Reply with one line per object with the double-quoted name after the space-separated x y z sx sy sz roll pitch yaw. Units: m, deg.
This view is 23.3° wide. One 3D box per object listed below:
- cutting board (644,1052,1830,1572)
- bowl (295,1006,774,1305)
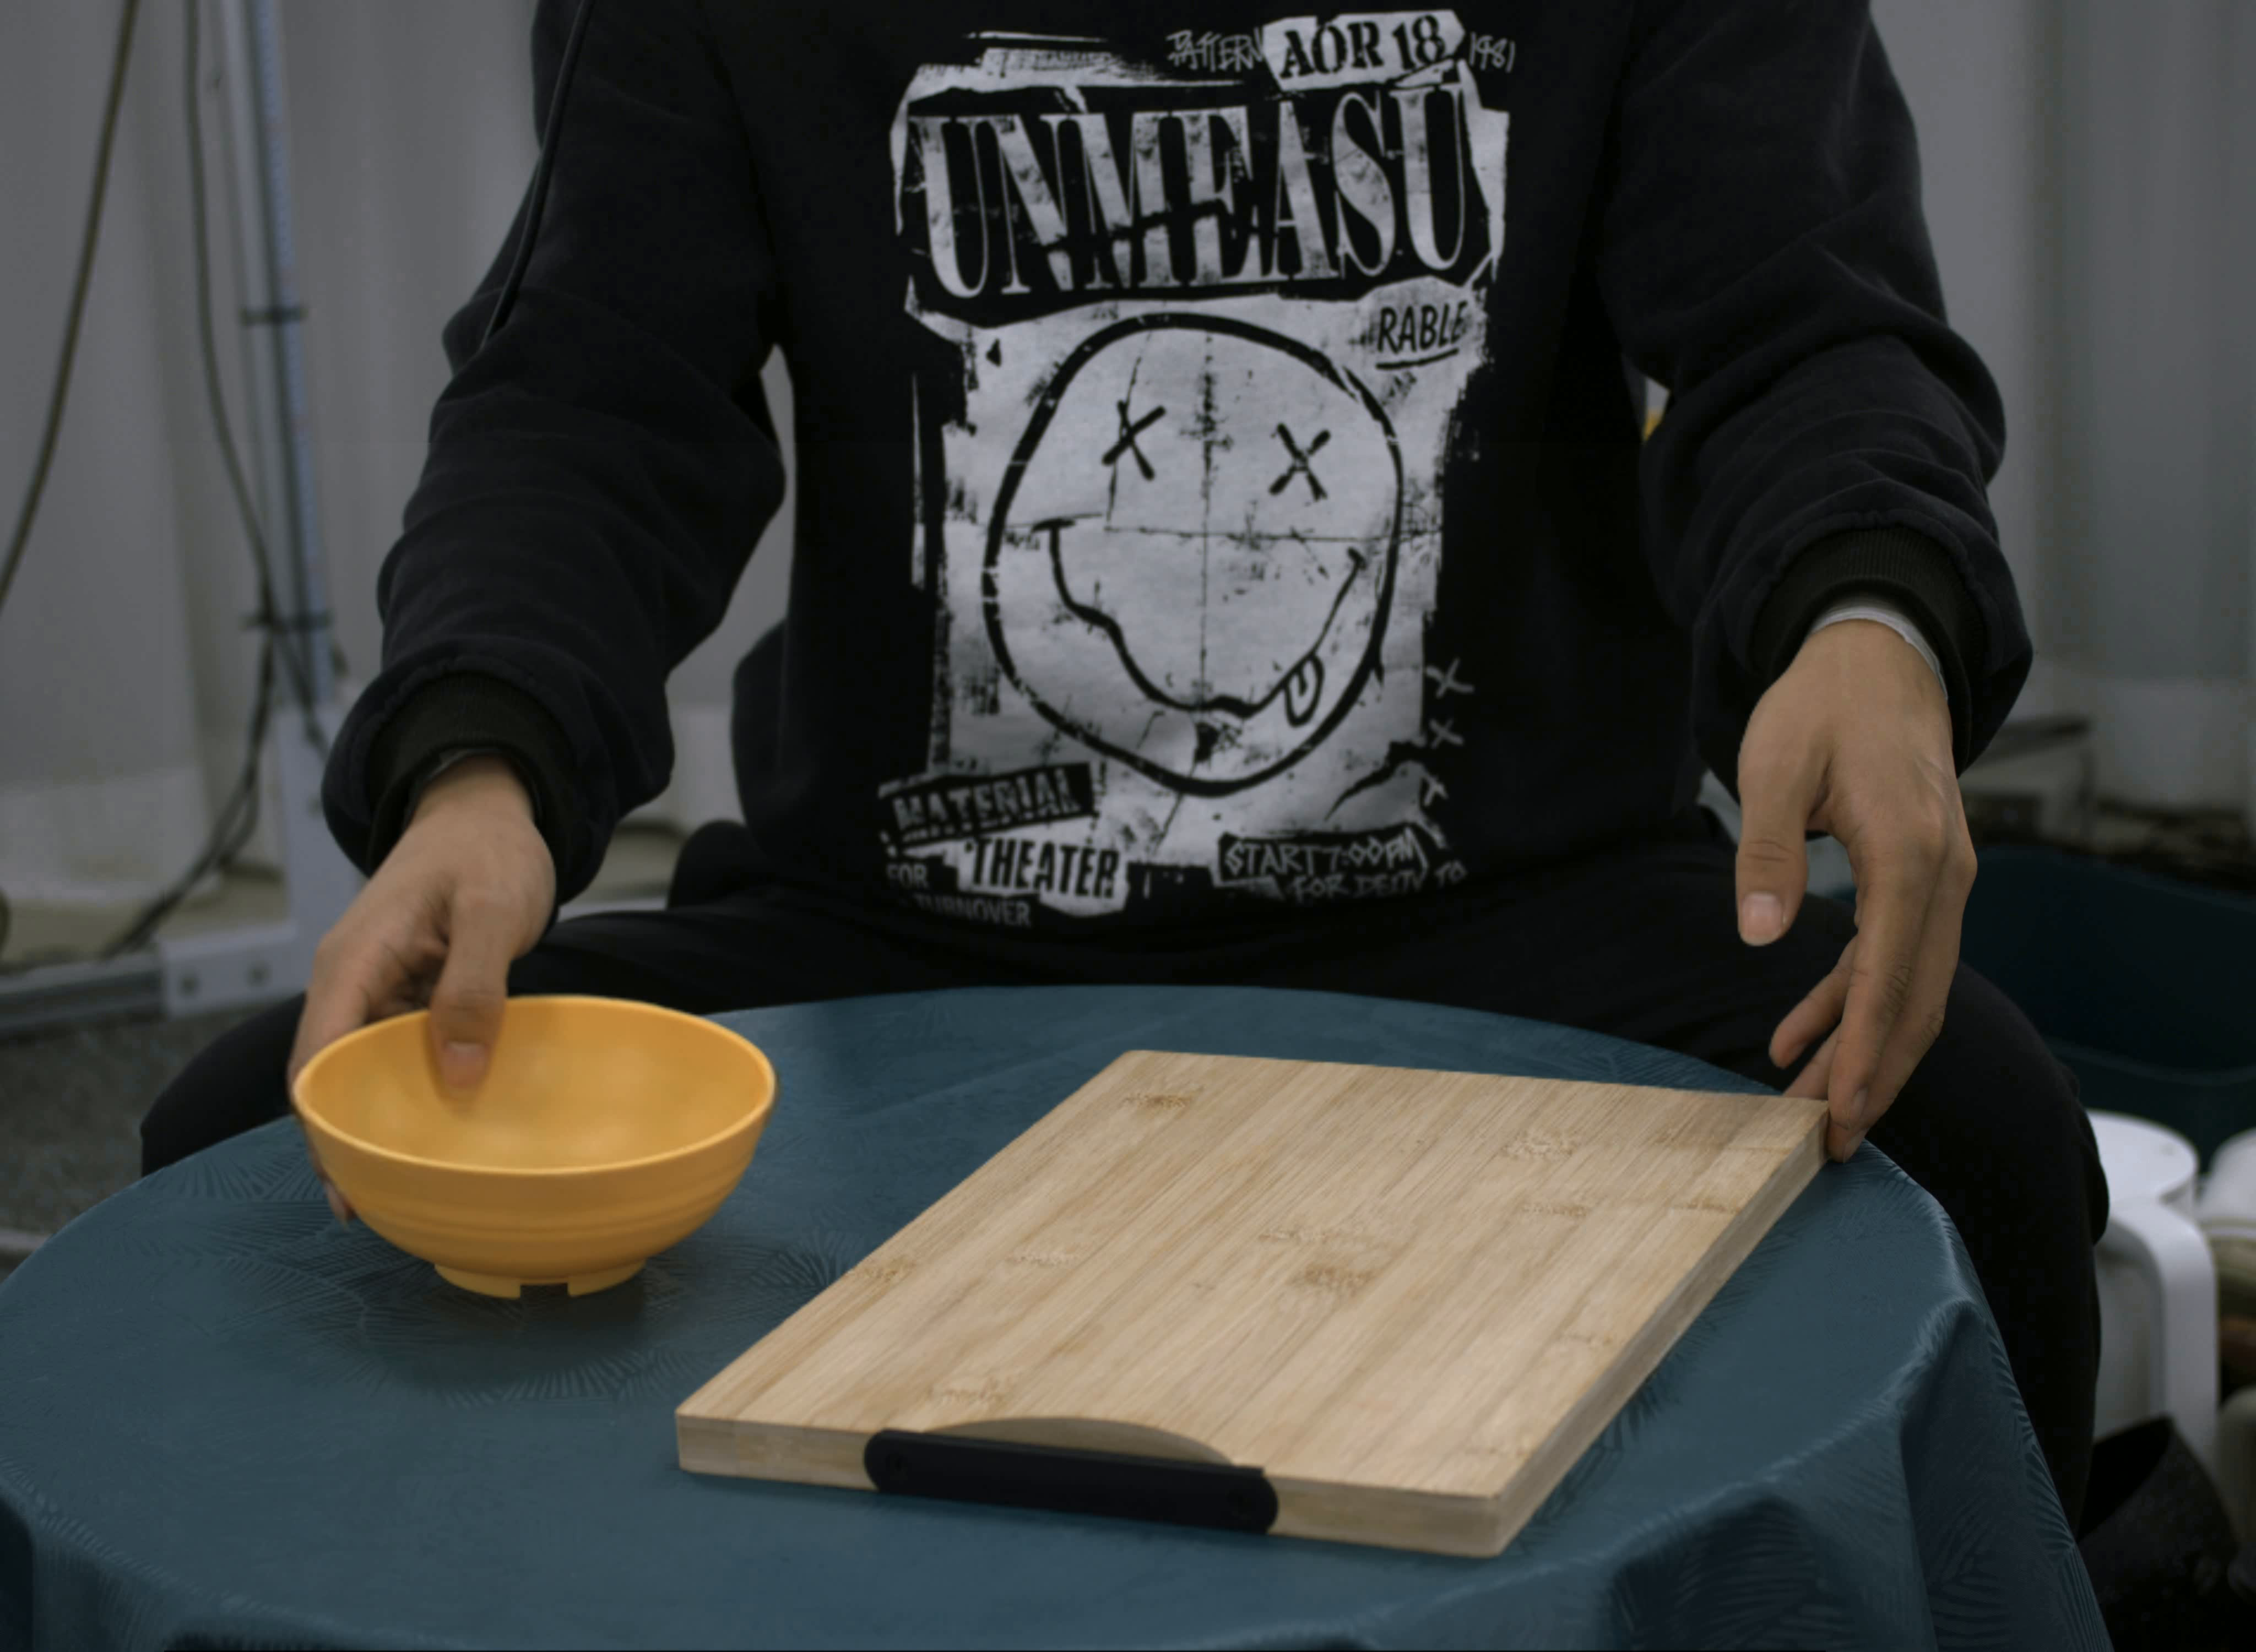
0.044 0.135 1.601 0.251 0.023 0.349 3 16 21 "cutting board"
-0.181 0.106 1.661 0.145 0.060 0.146 3 17 -1 "bowl"
